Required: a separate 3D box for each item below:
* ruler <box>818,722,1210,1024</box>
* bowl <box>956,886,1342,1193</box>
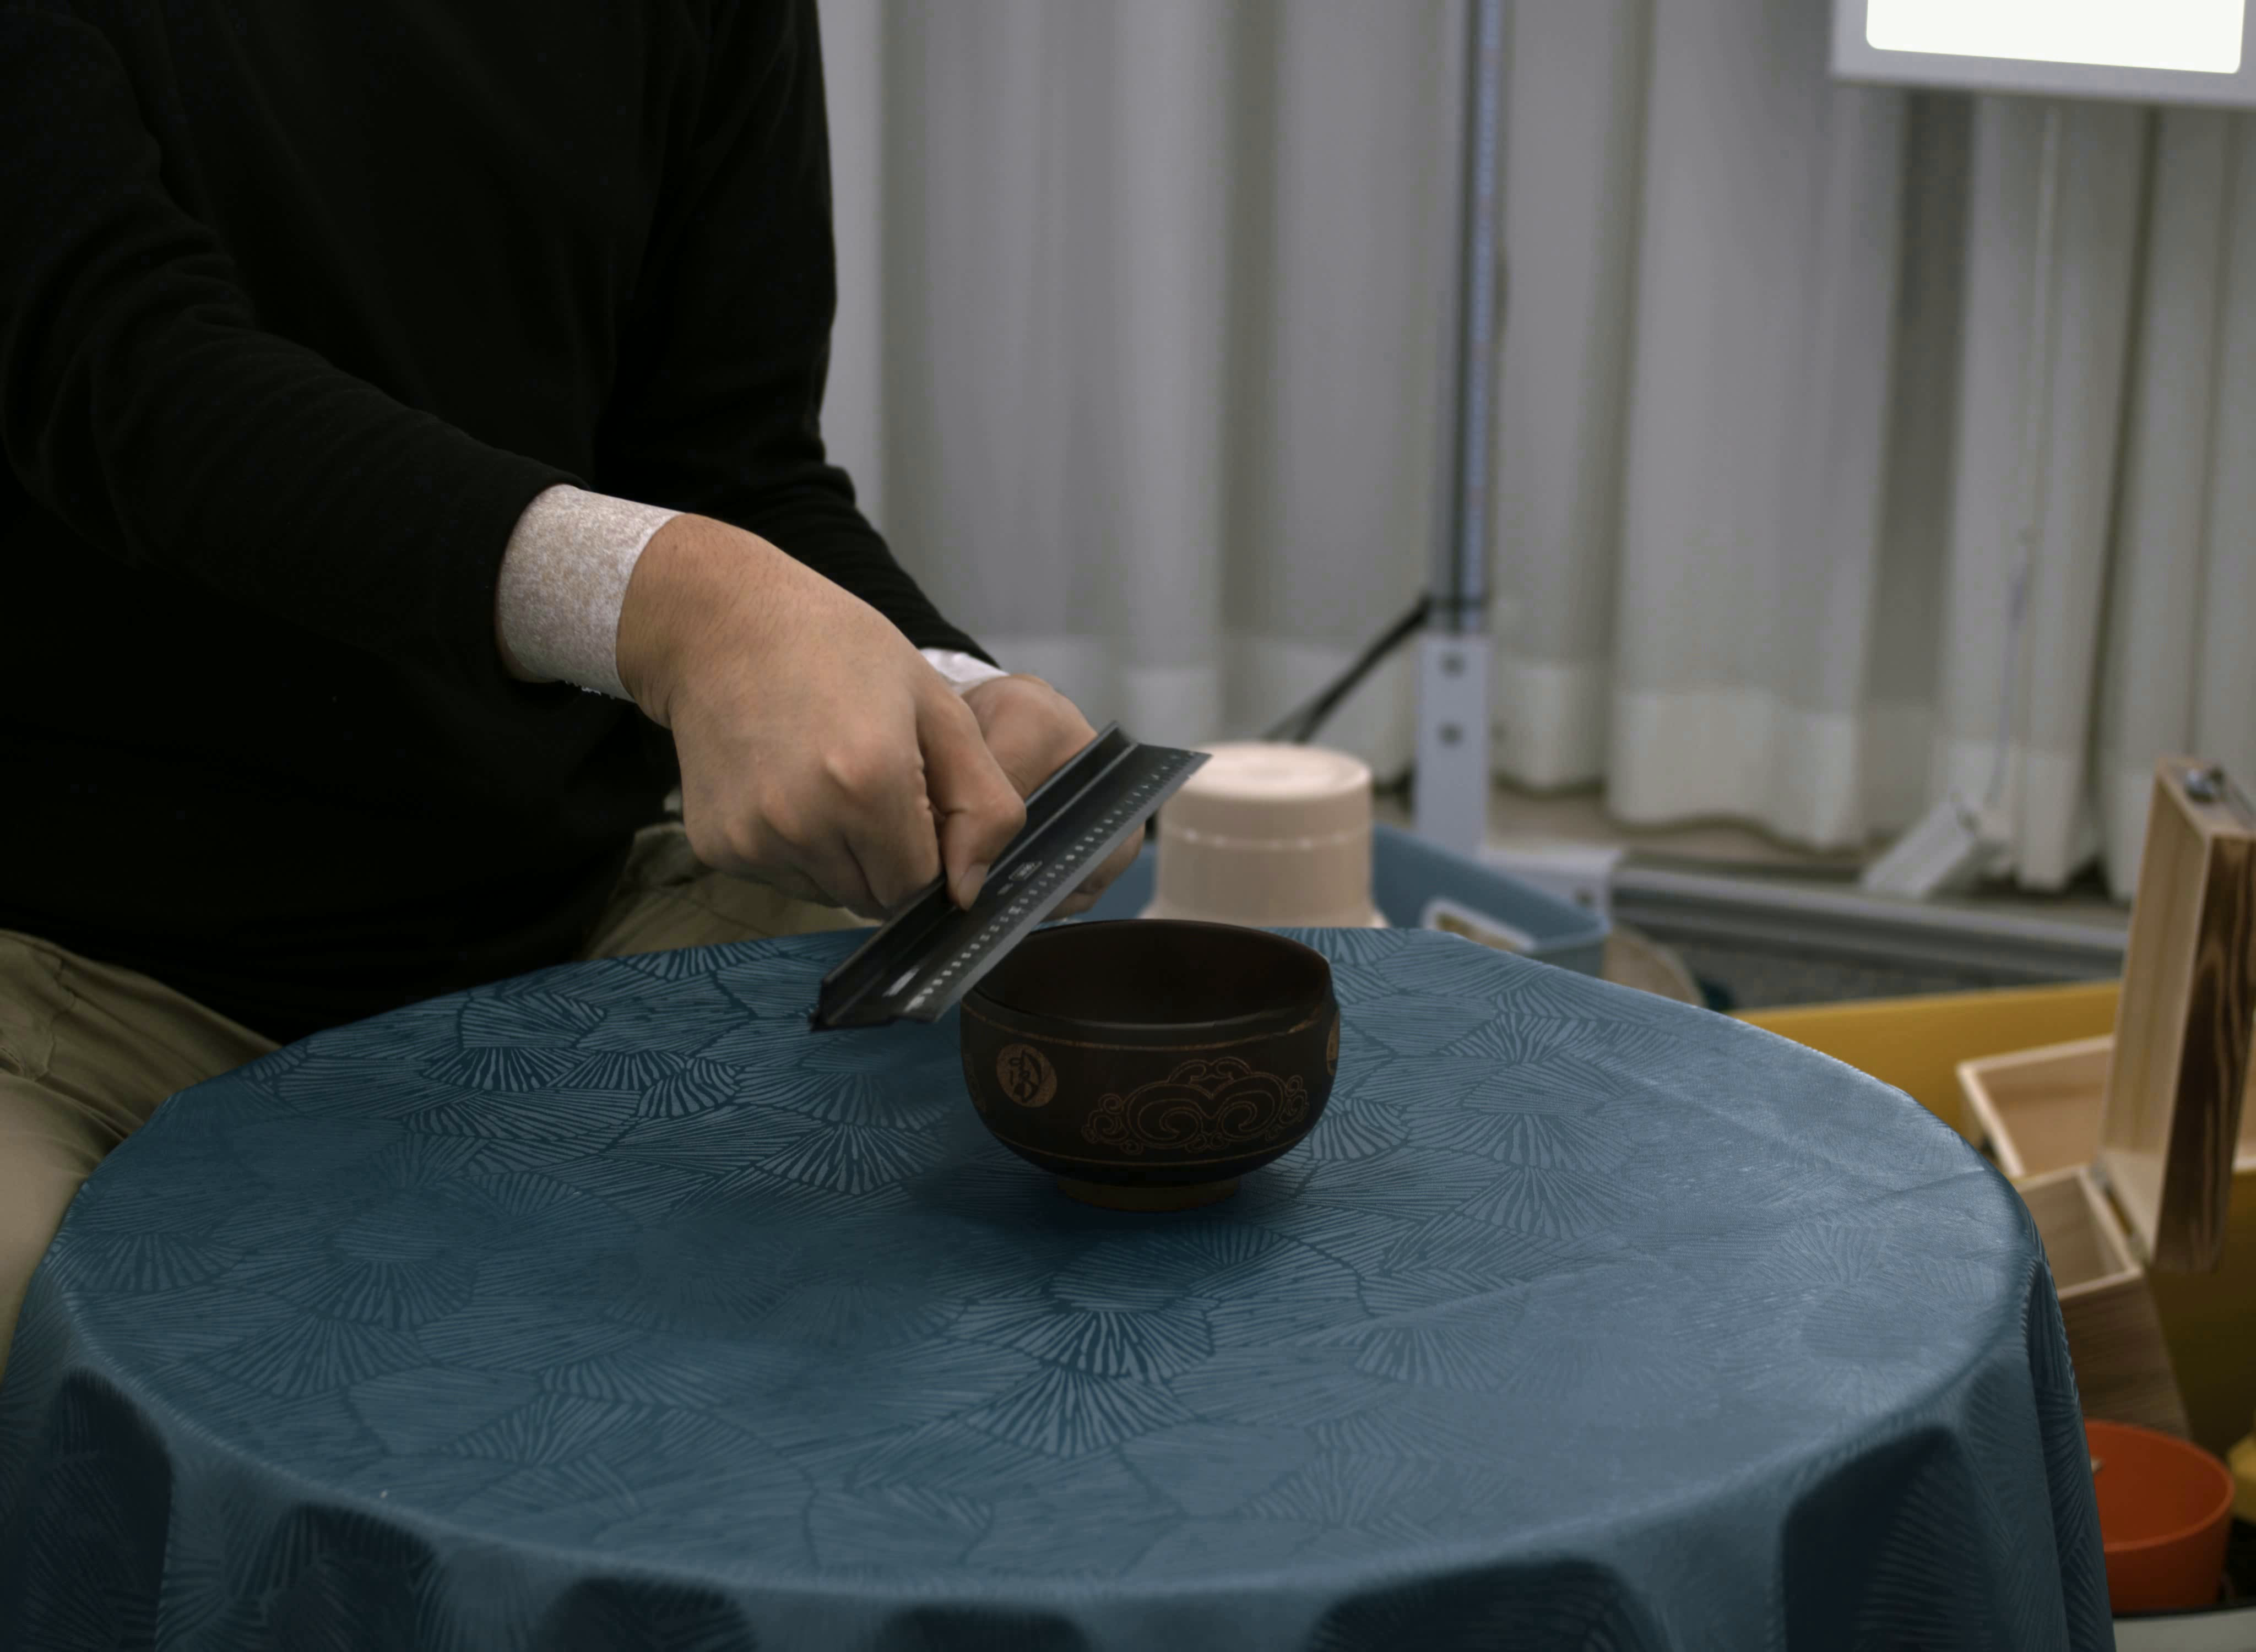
[{"bbox_3d":[-0.031,0.009,1.609,0.039,0.017,0.312,-2,14,16],"label":"ruler"},{"bbox_3d":[0.005,0.070,1.619,0.118,0.070,0.117,6,19,-1],"label":"bowl"}]
